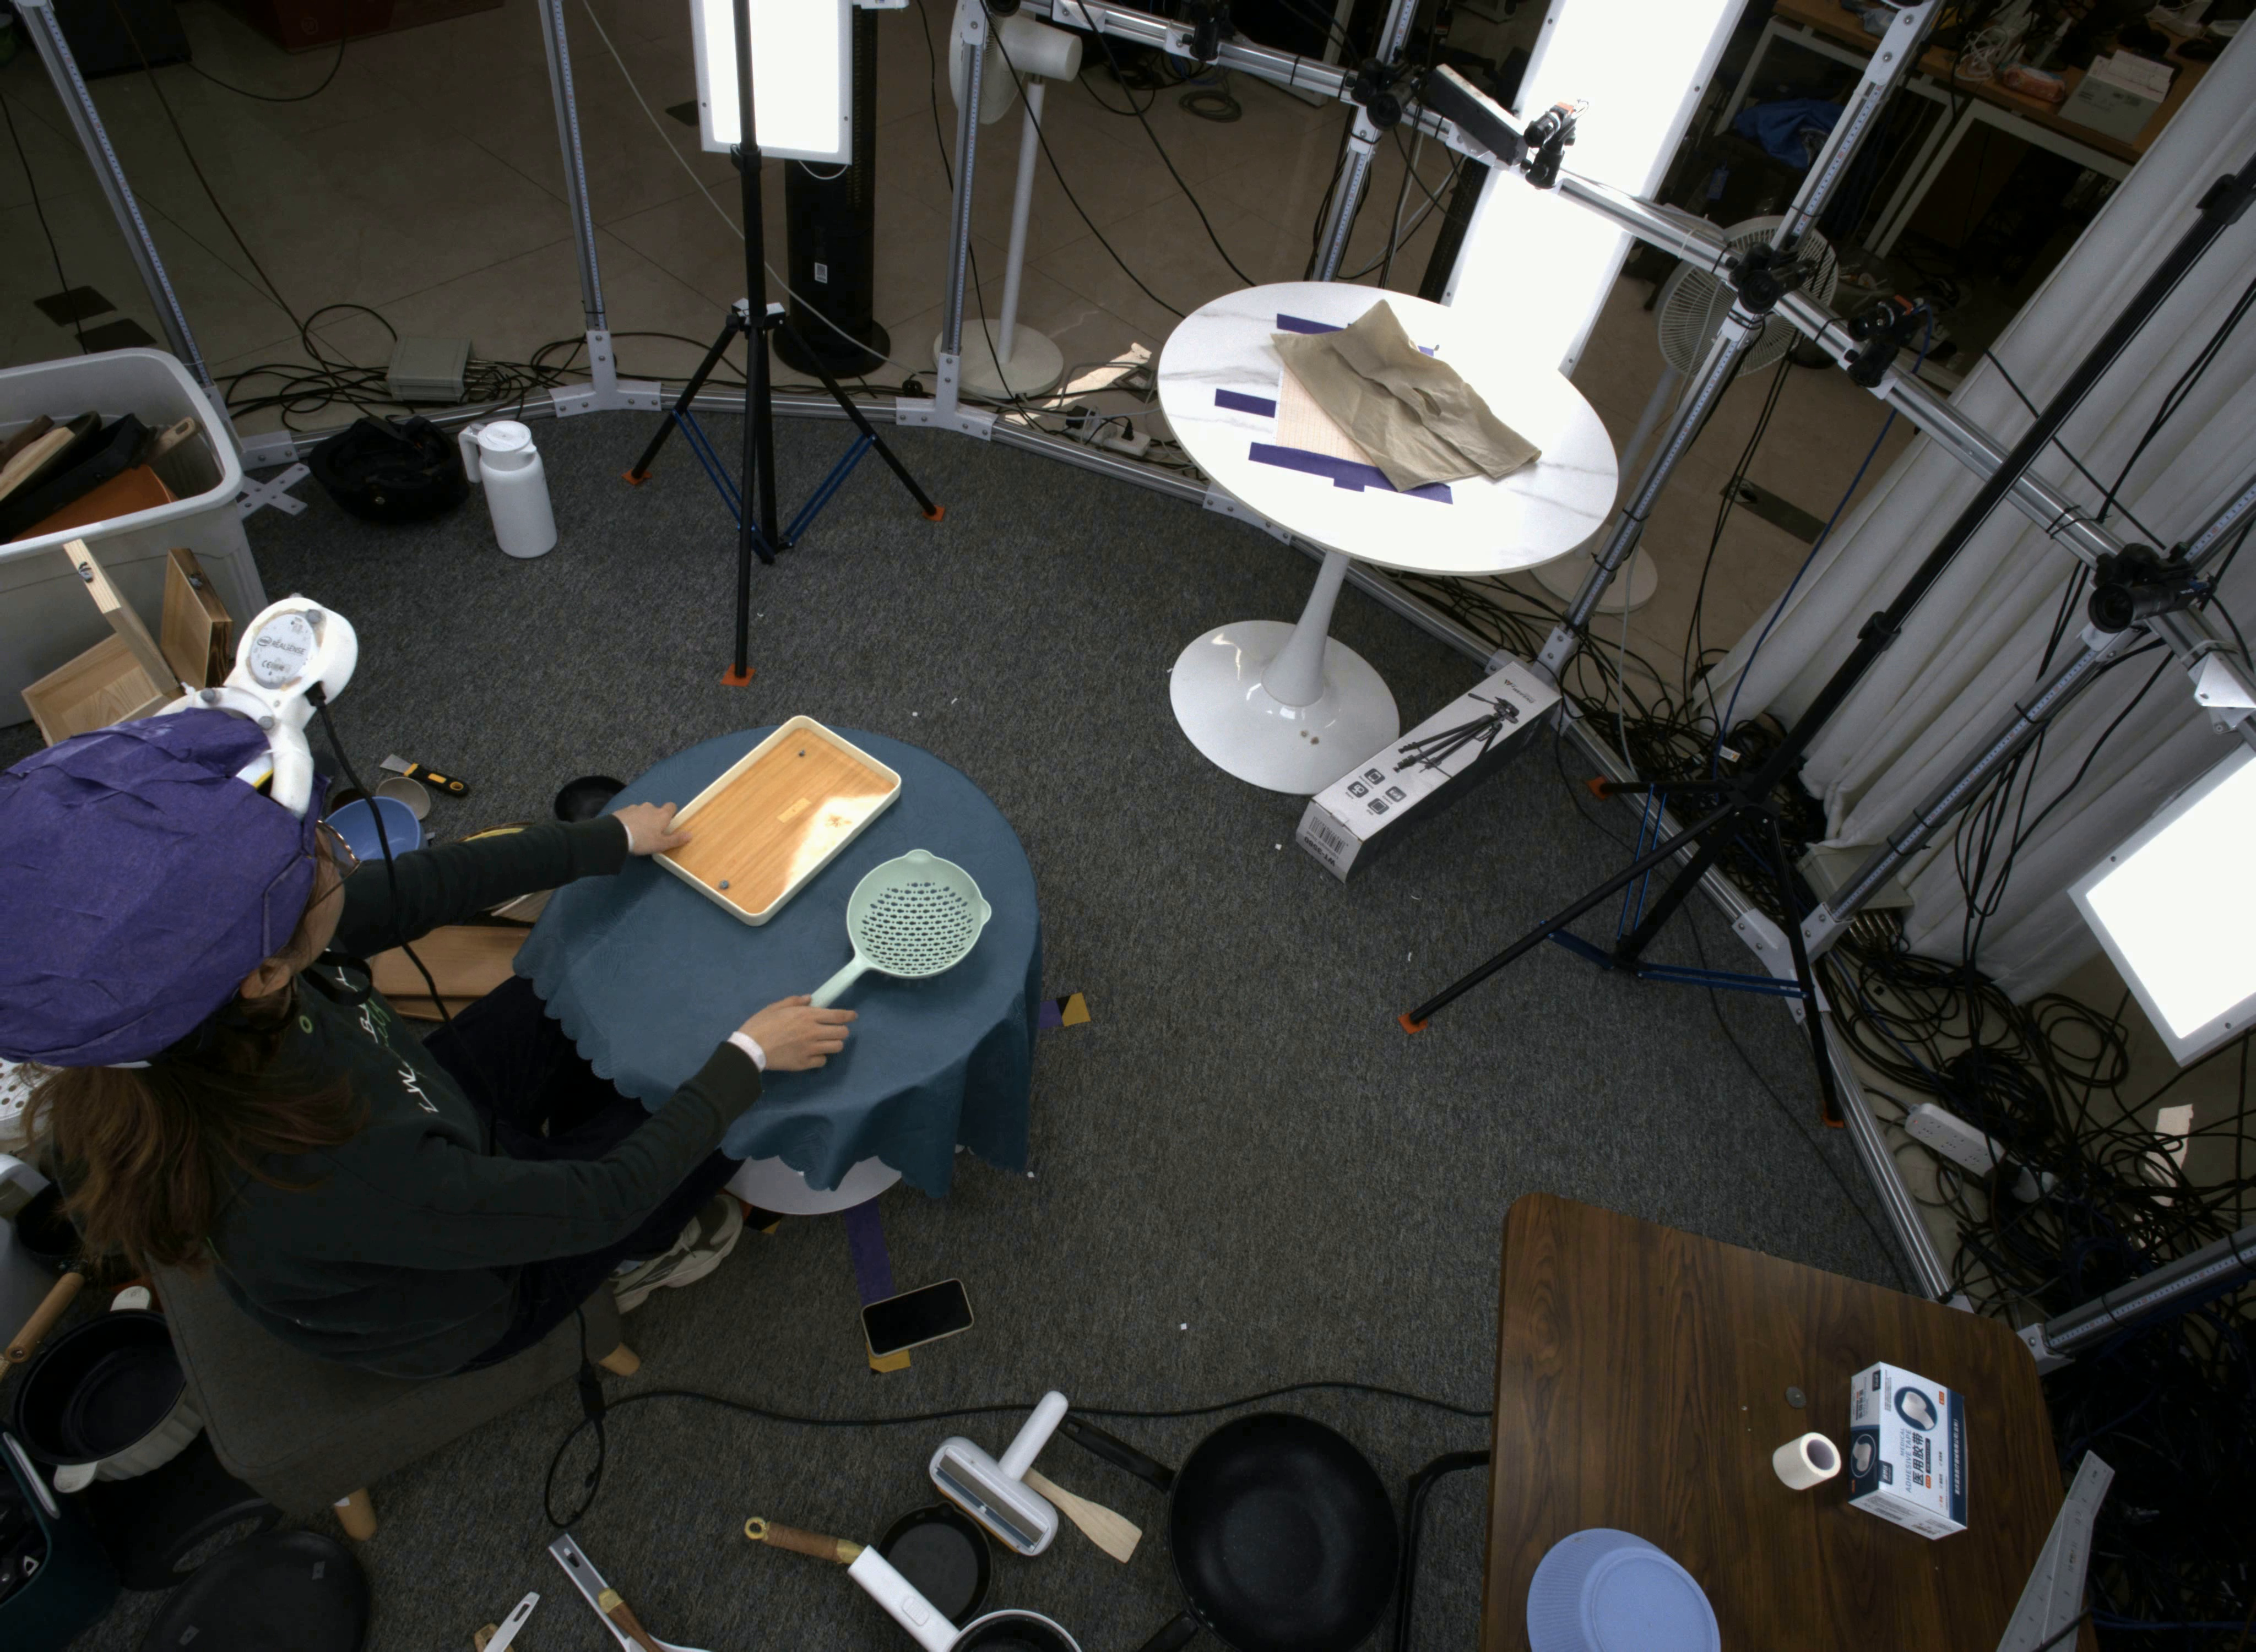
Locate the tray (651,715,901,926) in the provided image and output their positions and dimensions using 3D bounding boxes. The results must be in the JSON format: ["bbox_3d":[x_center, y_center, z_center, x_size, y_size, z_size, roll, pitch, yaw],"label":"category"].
[{"bbox_3d":[-0.461,-0.015,1.714,0.188,0.028,0.299,33,53,11],"label":"tray"}]

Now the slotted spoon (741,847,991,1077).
[{"bbox_3d":[-0.329,0.171,1.584,0.165,0.077,0.359,39,54,17],"label":"slotted spoon"}]
